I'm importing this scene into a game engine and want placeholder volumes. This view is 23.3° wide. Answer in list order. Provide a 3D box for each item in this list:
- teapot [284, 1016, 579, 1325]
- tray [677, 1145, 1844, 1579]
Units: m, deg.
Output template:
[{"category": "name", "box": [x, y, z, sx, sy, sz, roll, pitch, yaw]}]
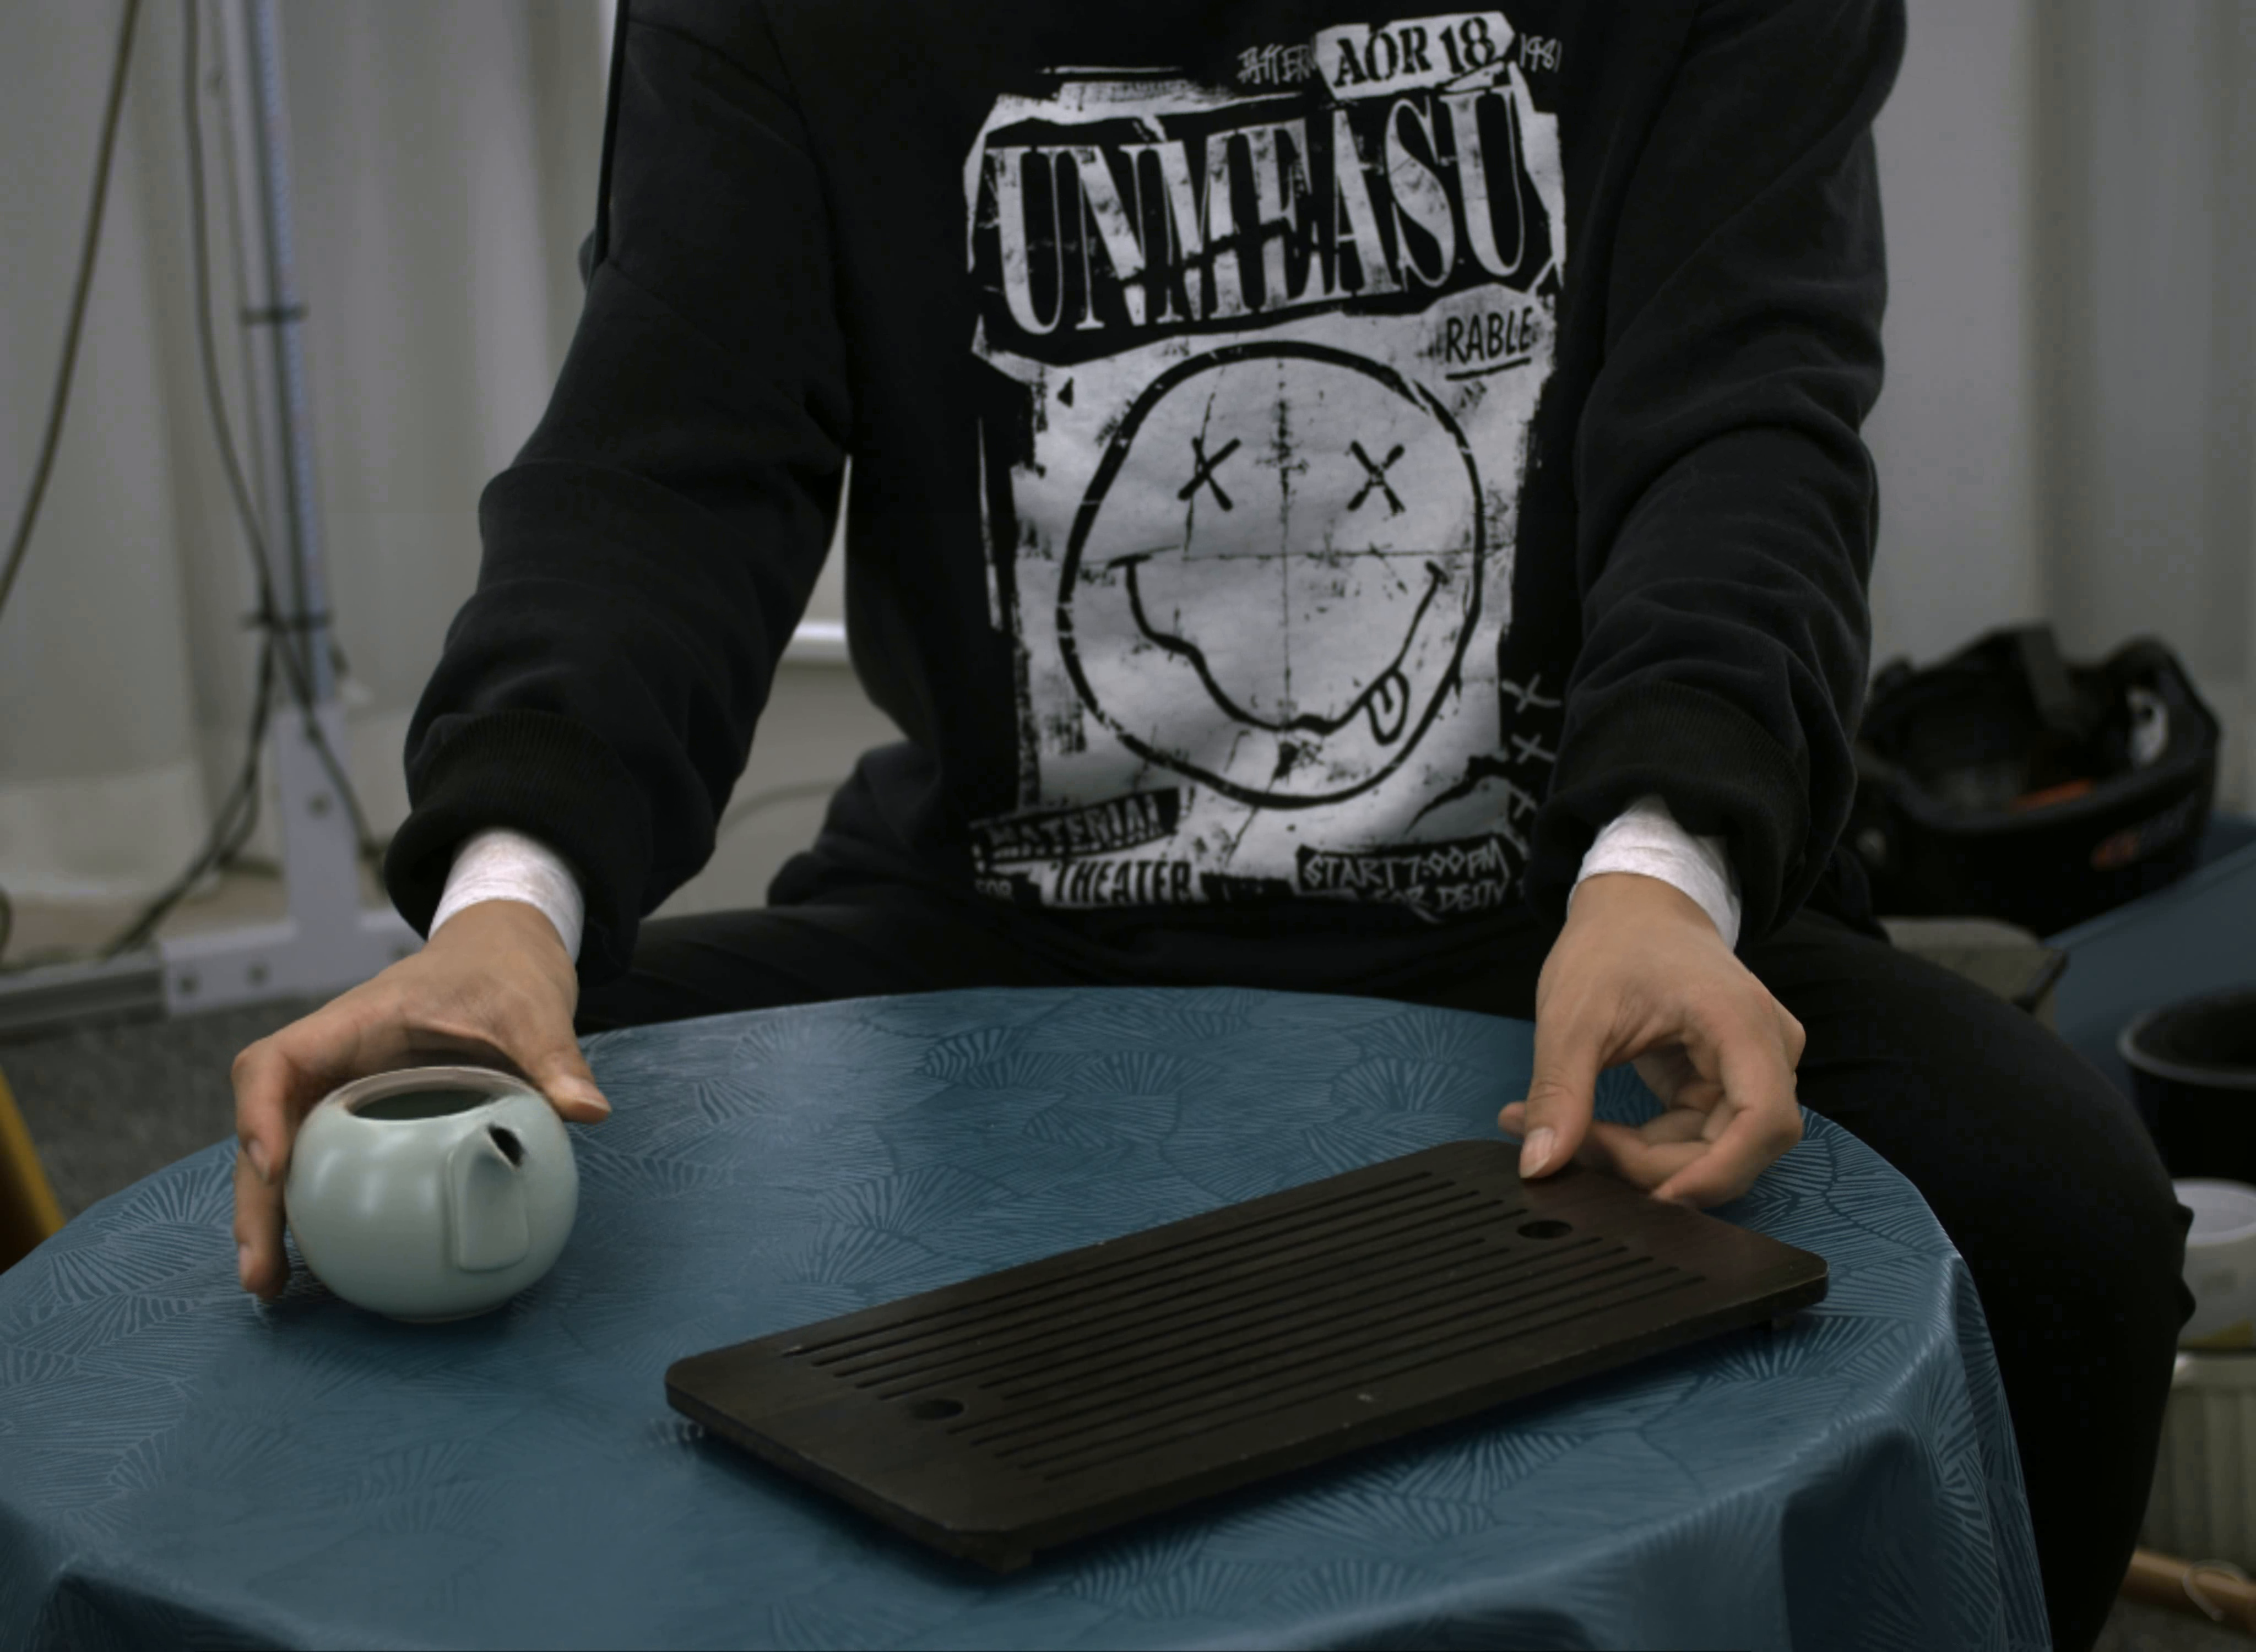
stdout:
[{"category": "teapot", "box": [-0.208, 0.108, 1.639, 0.088, 0.074, 0.145, -9, 17, -25]}, {"category": "tray", "box": [0.040, 0.148, 1.547, 0.305, 0.018, 0.171, -12, 17, -33]}]
